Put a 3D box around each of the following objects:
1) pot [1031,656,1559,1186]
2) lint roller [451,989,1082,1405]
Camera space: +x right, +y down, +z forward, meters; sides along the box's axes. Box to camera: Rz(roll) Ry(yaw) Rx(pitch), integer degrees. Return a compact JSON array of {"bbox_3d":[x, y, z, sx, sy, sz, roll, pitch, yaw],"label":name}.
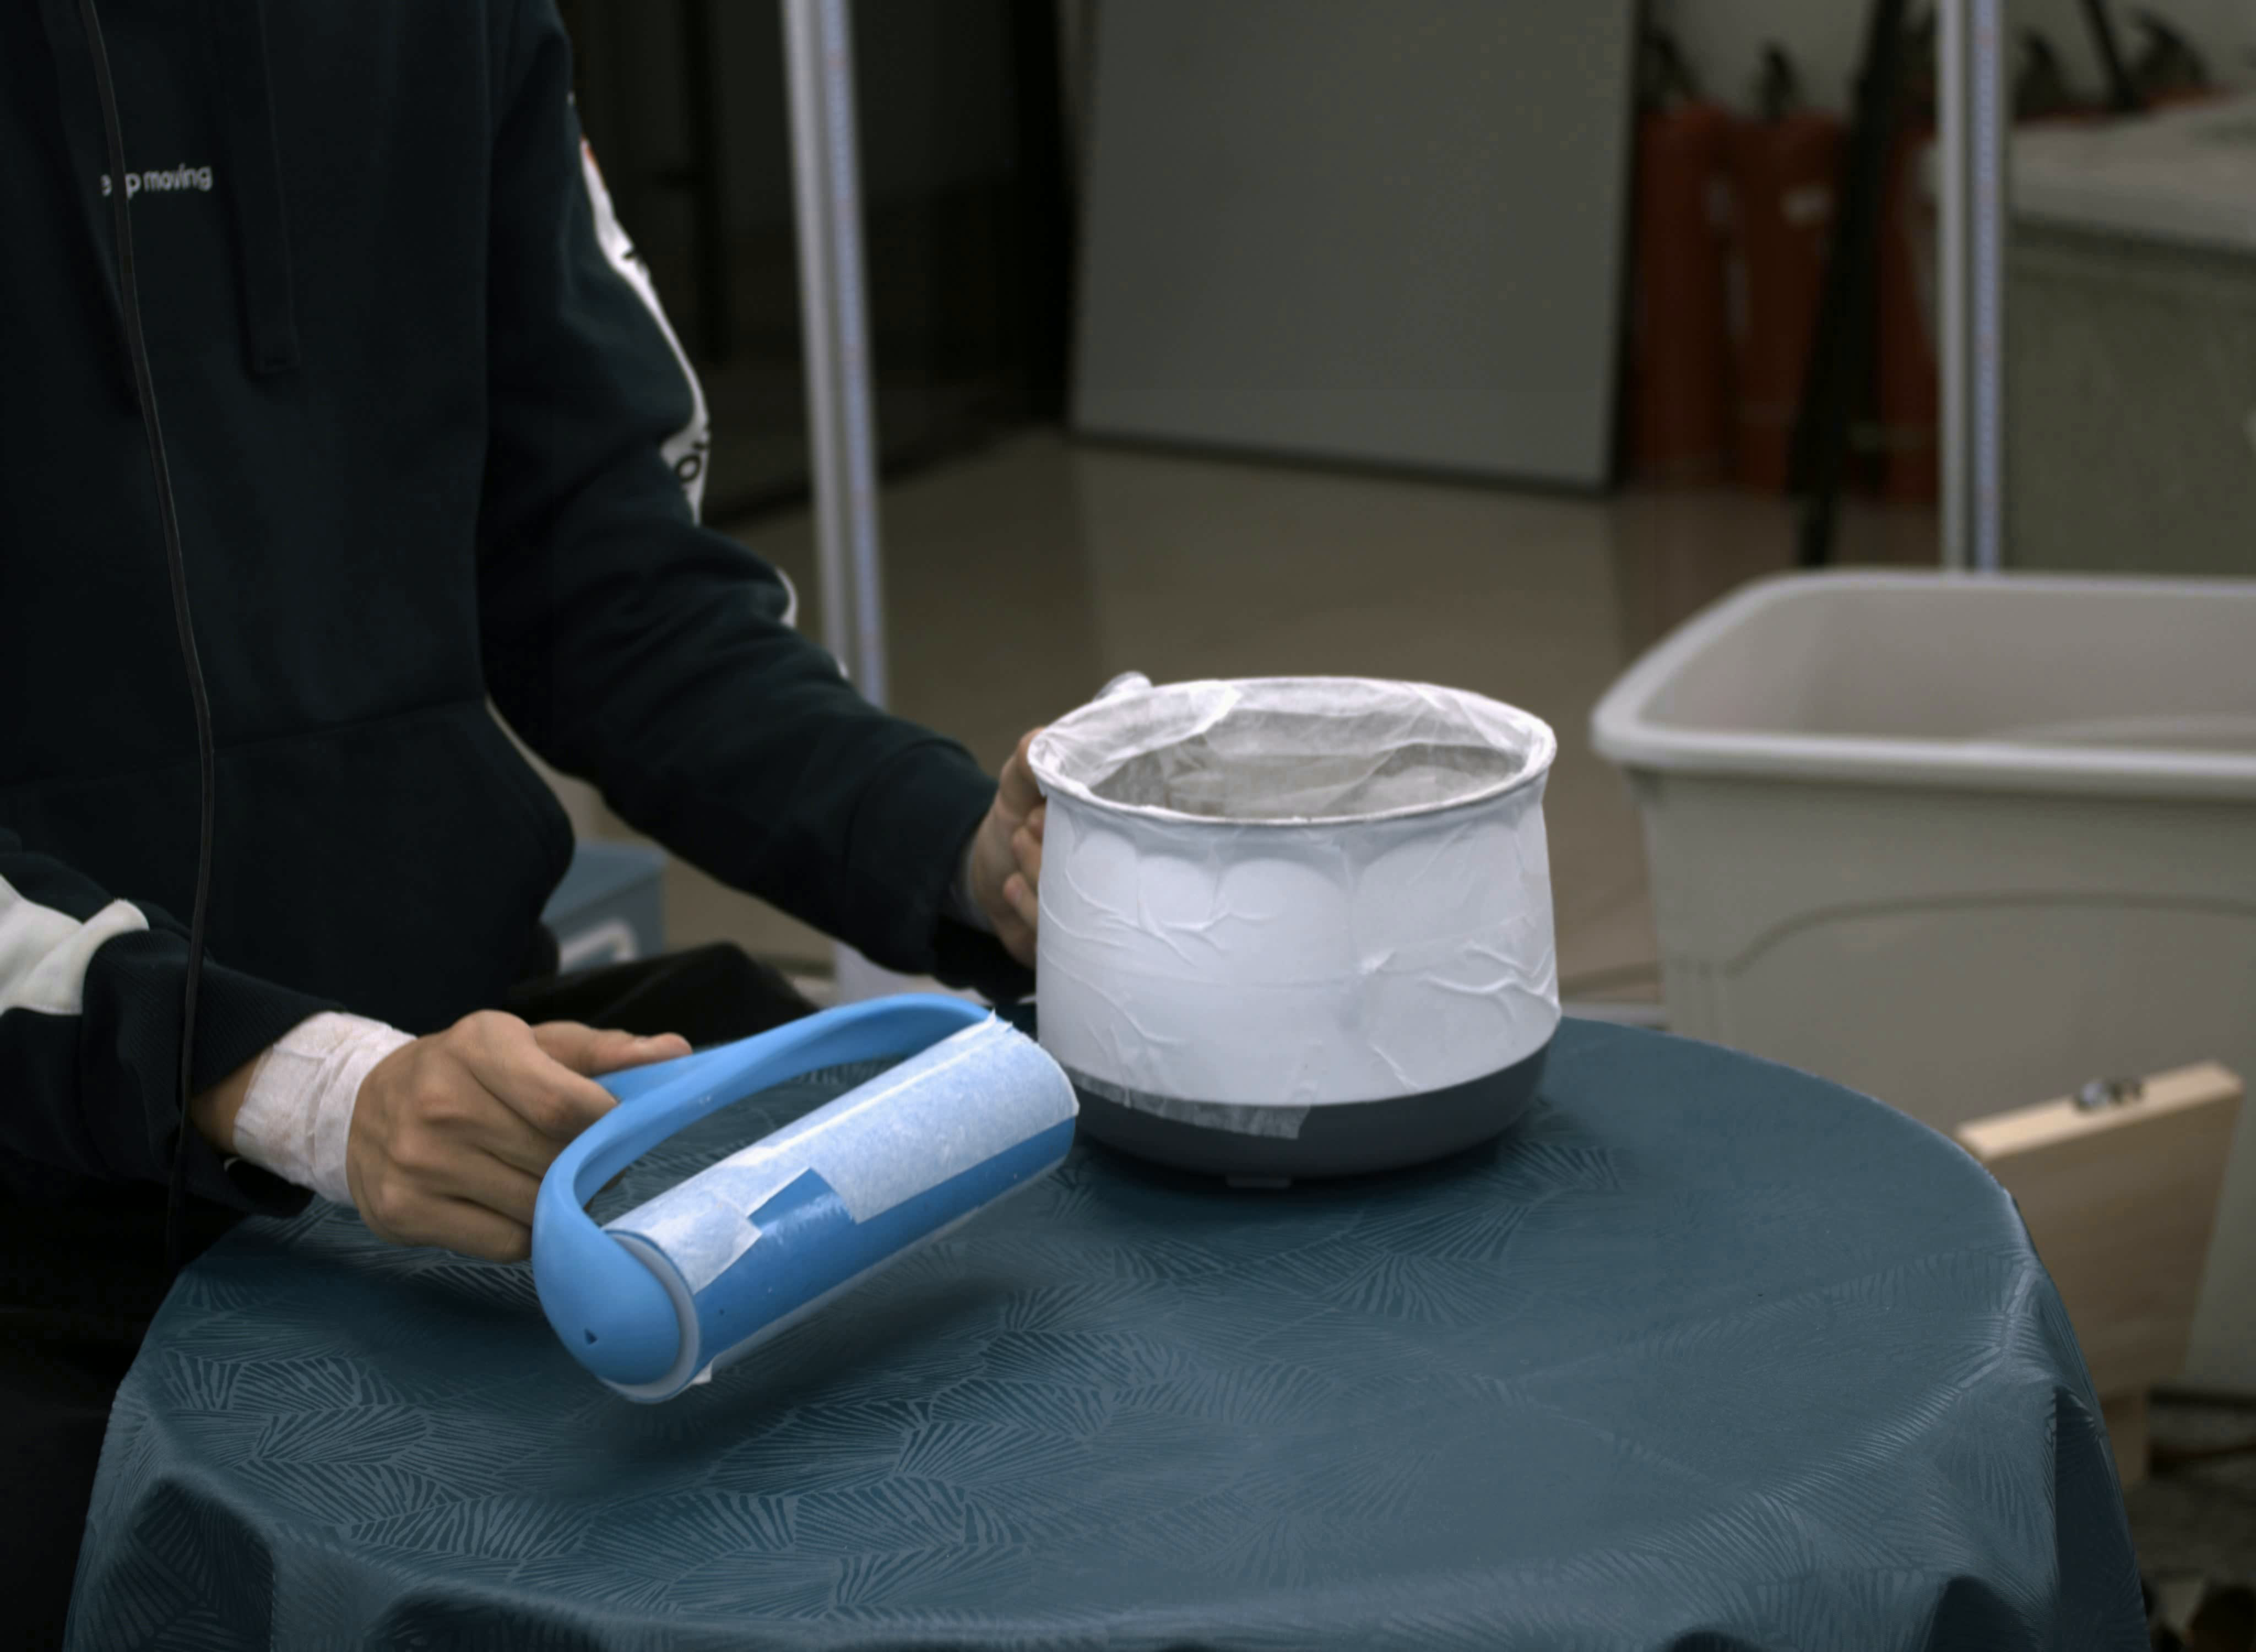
[{"bbox_3d":[0.041,0.025,1.822,0.175,0.138,0.236,-11,19,-31],"label":"pot"},{"bbox_3d":[-0.137,0.105,1.647,0.181,0.068,0.226,7,22,30],"label":"lint roller"}]
